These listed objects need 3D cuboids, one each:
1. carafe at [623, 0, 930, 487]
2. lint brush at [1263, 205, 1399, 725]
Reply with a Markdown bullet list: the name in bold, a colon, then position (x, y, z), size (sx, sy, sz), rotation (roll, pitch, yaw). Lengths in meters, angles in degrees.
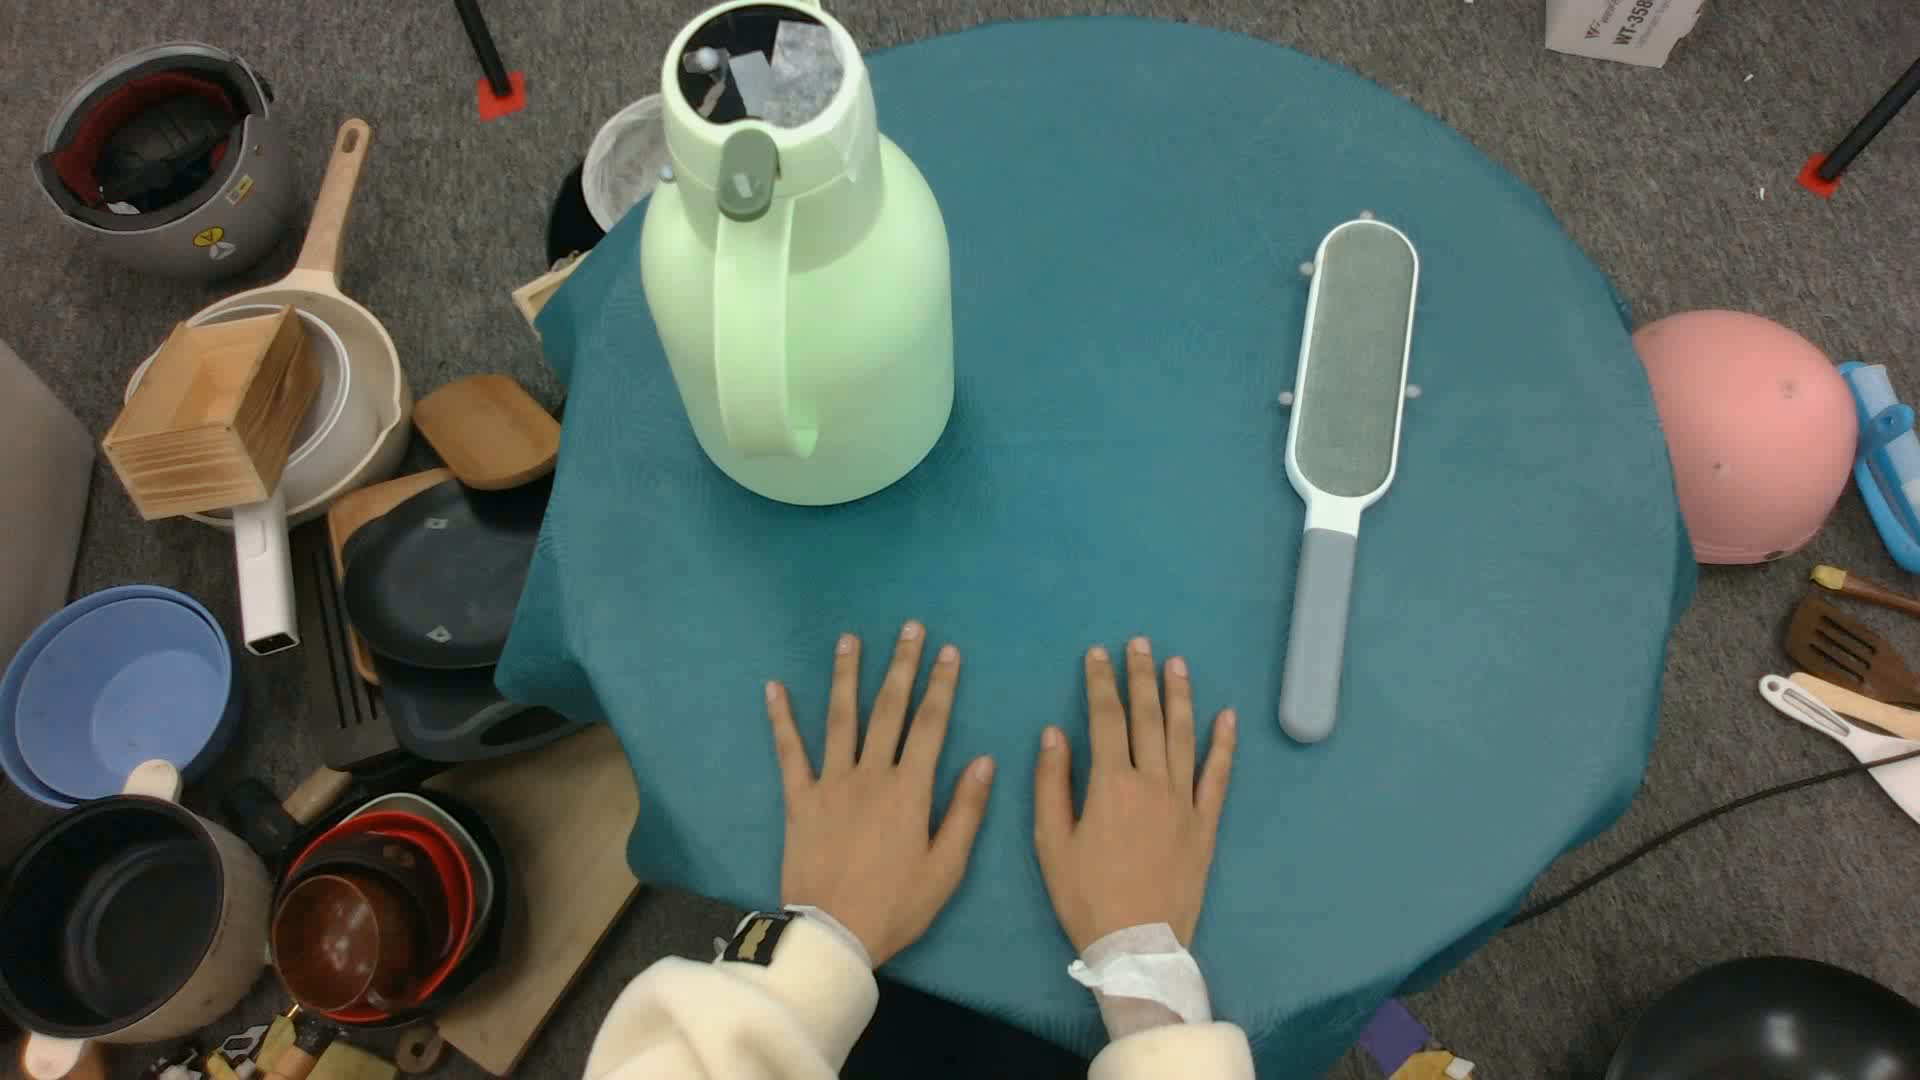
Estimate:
- **carafe**: position (-0.085, -0.121, 0.633), size (0.144, 0.256, 0.187), rotation (4, 71, -1)
- **lint brush**: position (0.191, -0.050, 0.730), size (0.060, 0.021, 0.310), rotation (12, 67, 2)
